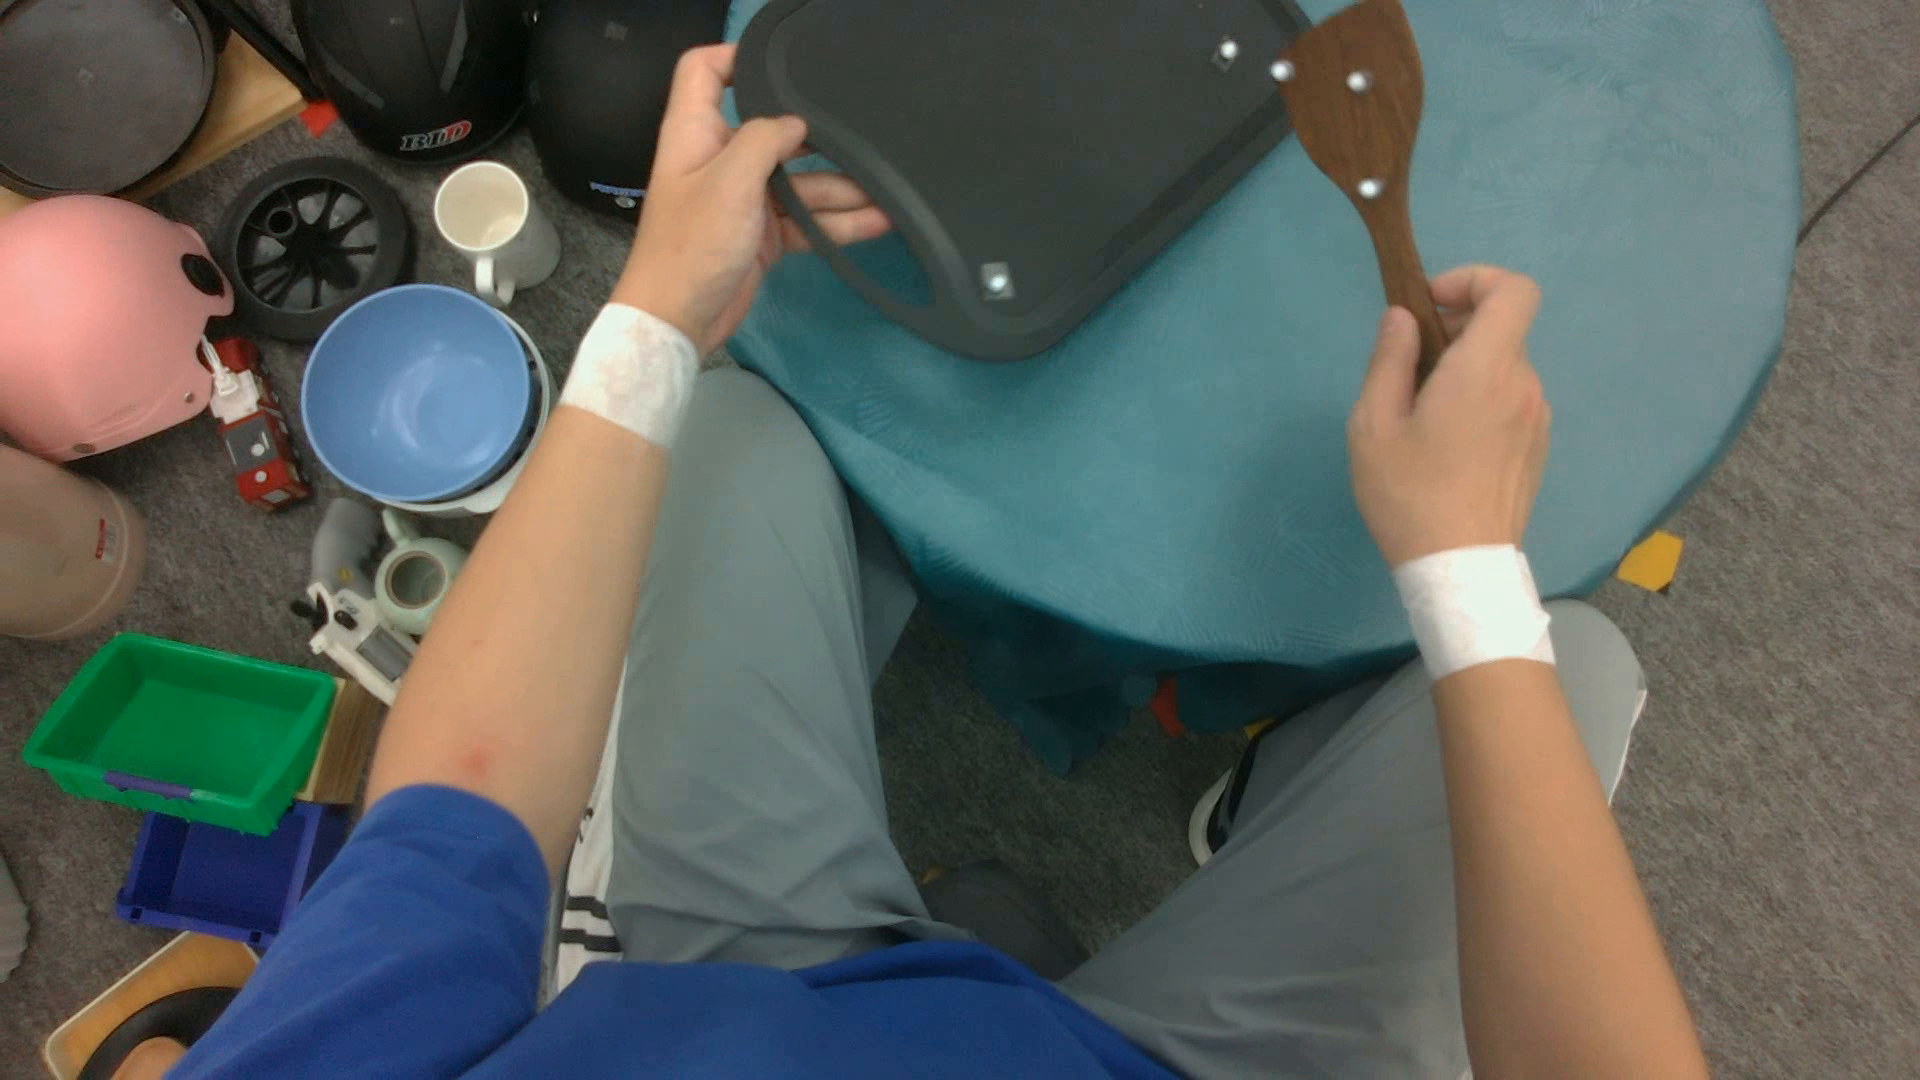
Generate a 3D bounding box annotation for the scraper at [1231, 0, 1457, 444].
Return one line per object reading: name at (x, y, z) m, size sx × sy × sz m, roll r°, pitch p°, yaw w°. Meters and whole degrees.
scraper at (0.187, -0.146, 0.641) m, size 0.011 × 0.075 × 0.211 m, roll -20°, pitch 91°, yaw -35°

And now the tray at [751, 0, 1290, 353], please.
tray at (0.050, -0.236, 0.711) m, size 0.211 × 0.010 × 0.327 m, roll 46°, pitch 64°, yaw 0°
